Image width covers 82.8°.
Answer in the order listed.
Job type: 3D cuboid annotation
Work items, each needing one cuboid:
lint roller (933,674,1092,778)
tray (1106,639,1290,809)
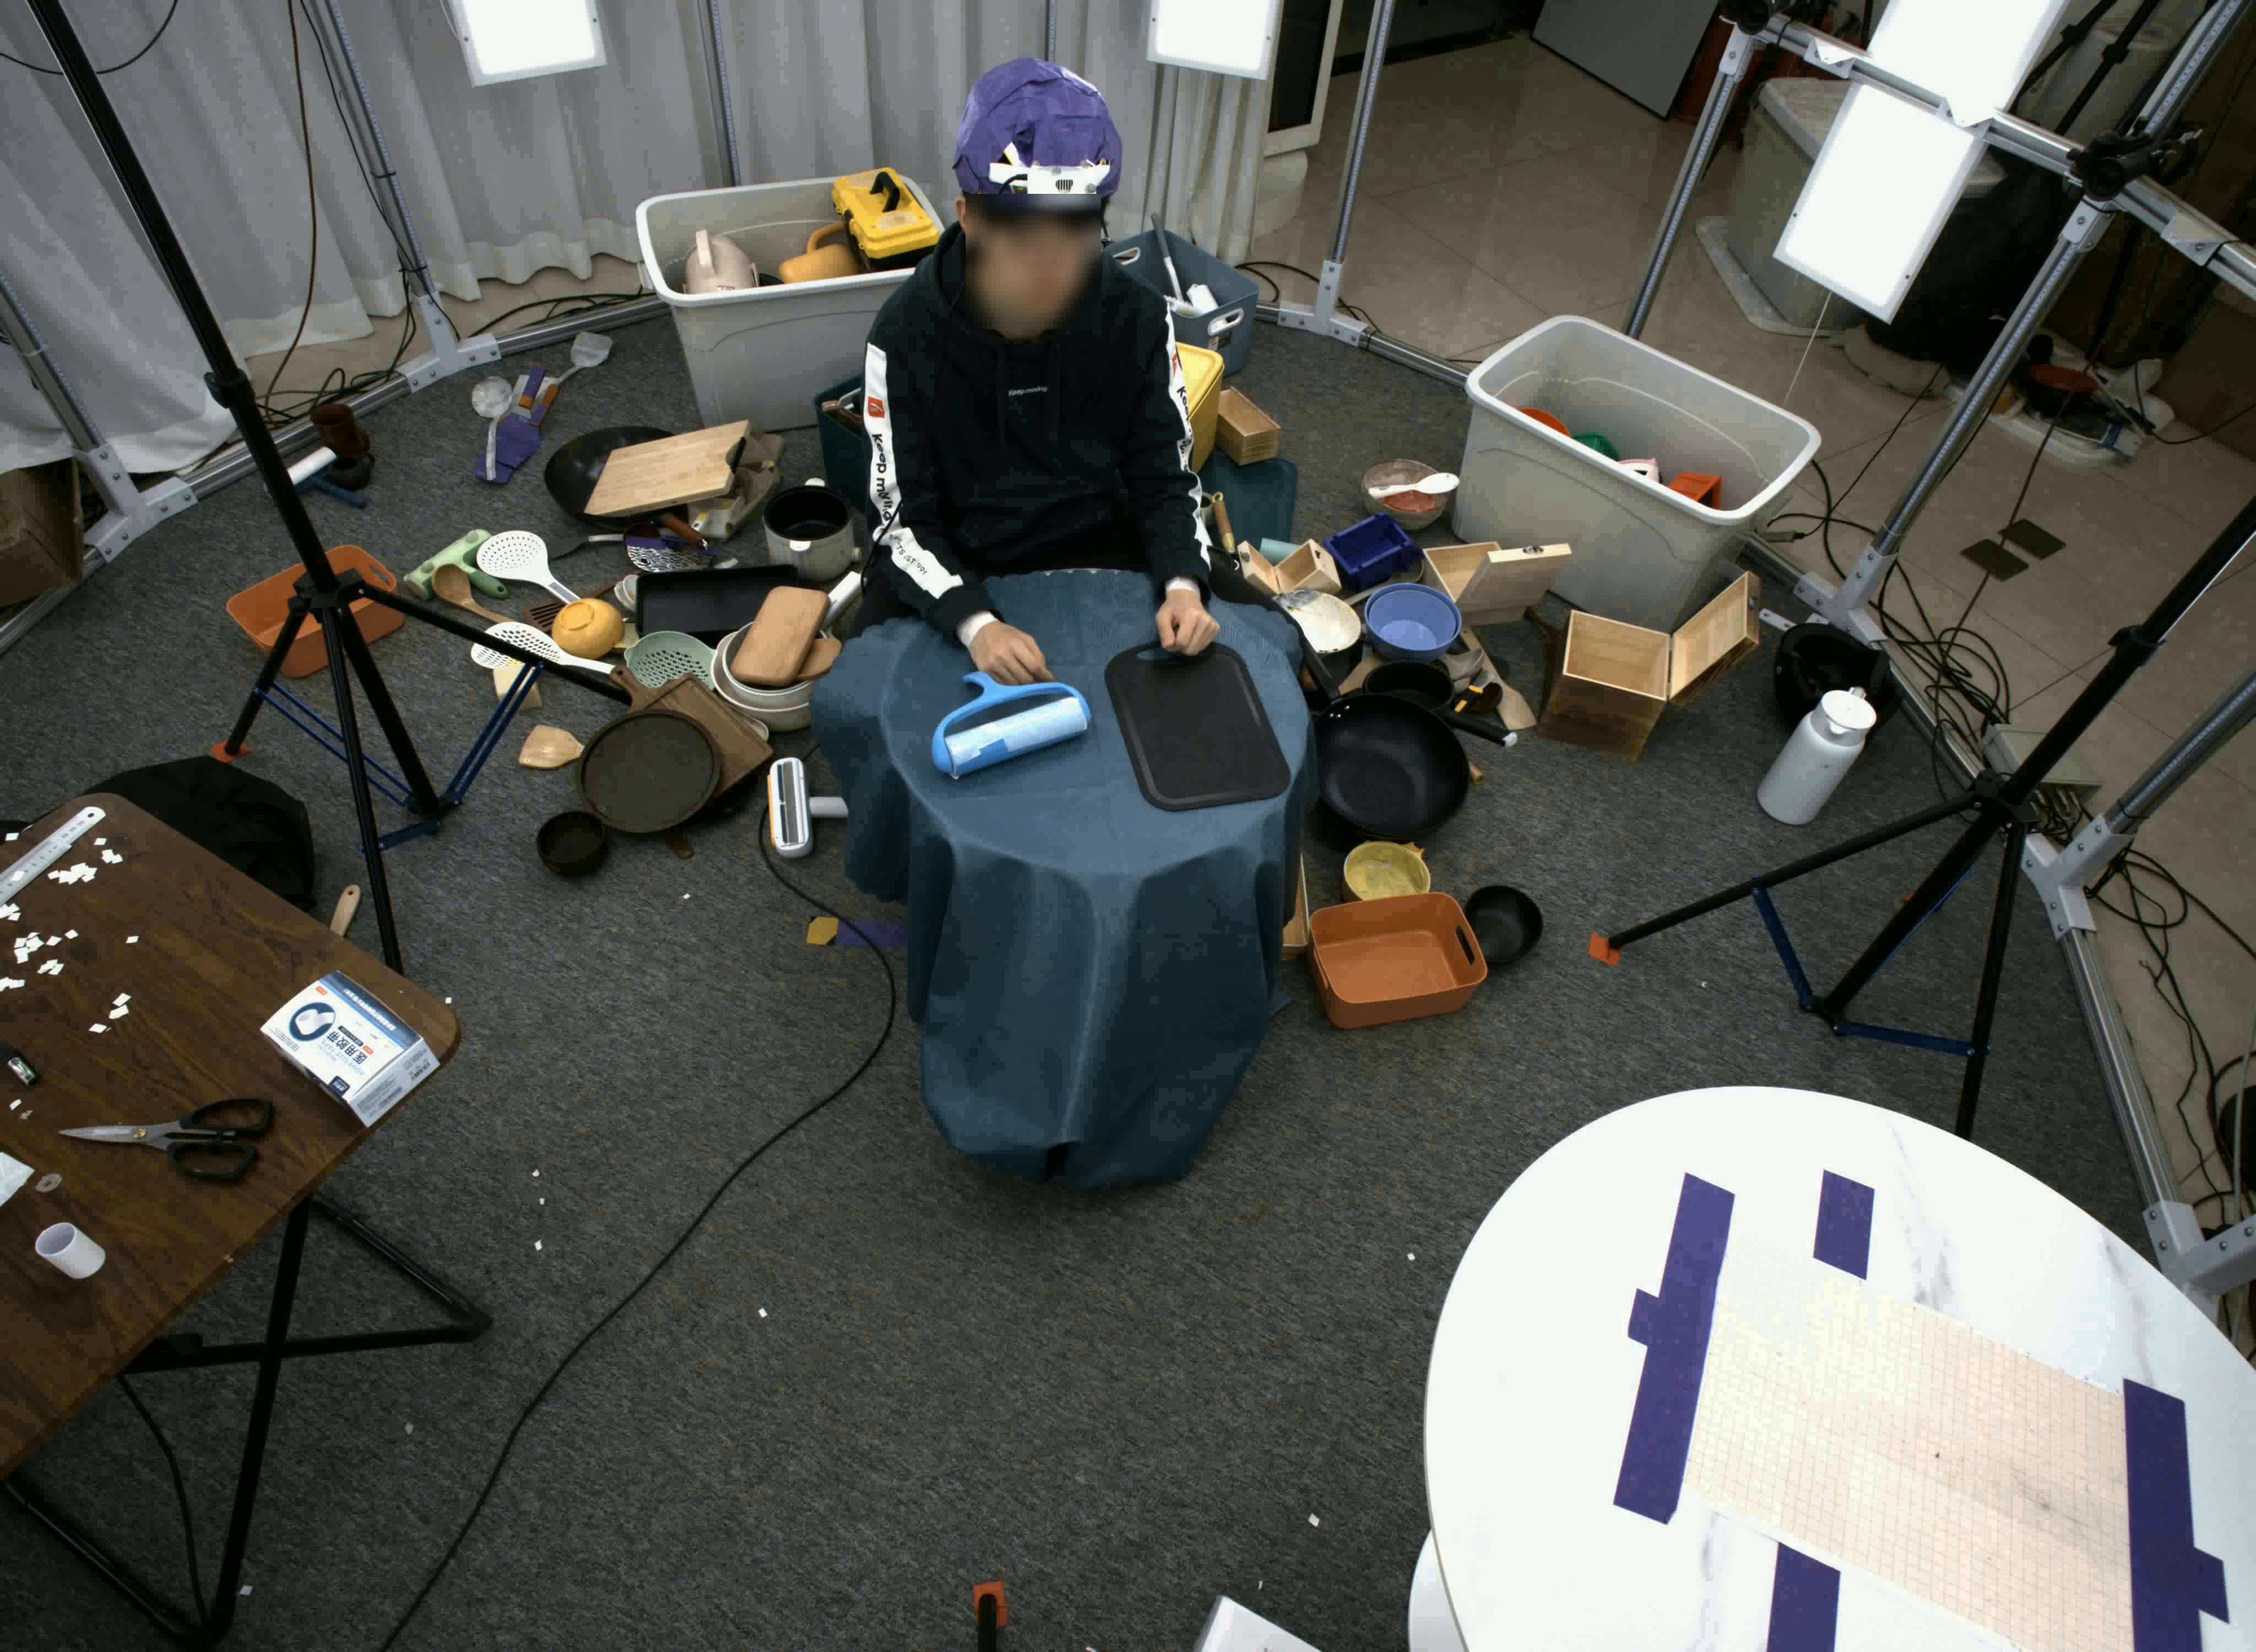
[{"bbox_3d":[-0.182,-0.162,1.760,0.229,0.066,0.184,-23,55,-20],"label":"lint roller"},{"bbox_3d":[0.091,-0.154,1.803,0.211,0.009,0.333,-8,50,-10],"label":"tray"}]
